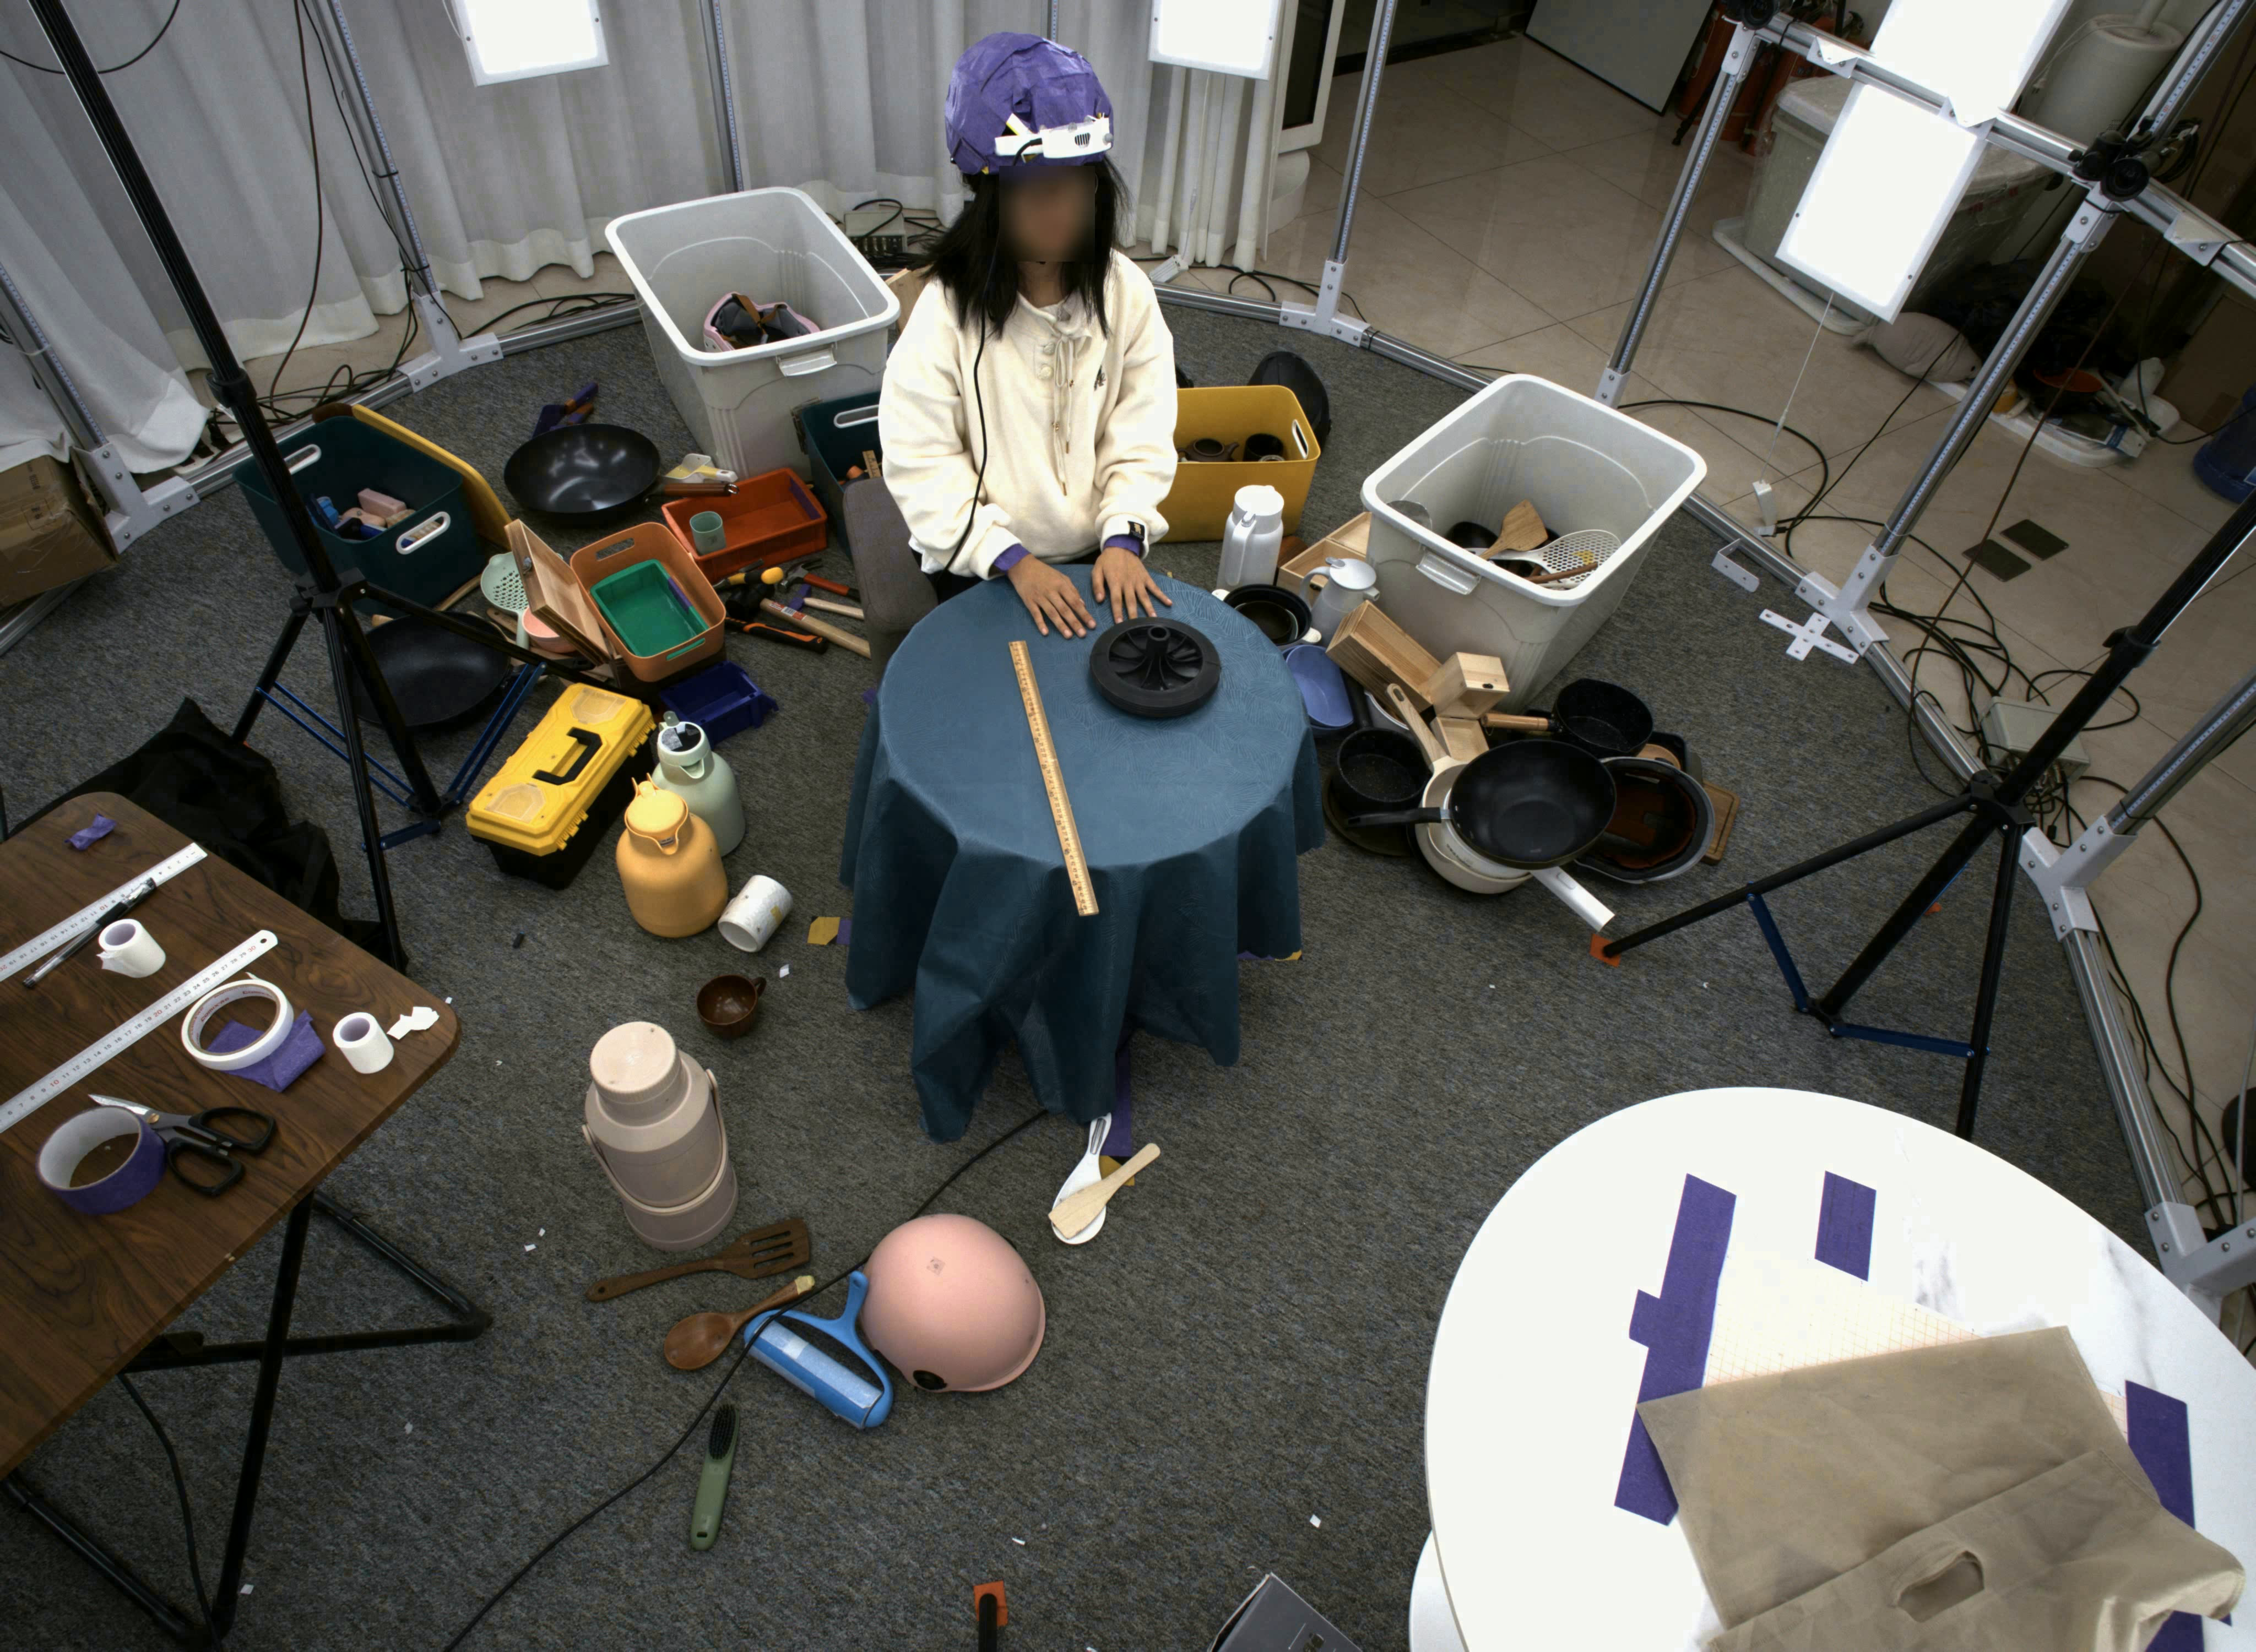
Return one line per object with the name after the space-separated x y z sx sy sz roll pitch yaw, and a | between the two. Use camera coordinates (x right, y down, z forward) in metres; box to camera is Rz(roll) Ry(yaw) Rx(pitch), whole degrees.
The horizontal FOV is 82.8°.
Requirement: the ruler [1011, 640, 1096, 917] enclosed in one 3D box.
-0.106 -0.081 1.730 0.027 0.006 0.513 -8 50 -9 | ruler

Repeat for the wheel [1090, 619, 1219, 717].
0.041 -0.244 1.835 0.190 0.077 0.192 34 54 23 | wheel
